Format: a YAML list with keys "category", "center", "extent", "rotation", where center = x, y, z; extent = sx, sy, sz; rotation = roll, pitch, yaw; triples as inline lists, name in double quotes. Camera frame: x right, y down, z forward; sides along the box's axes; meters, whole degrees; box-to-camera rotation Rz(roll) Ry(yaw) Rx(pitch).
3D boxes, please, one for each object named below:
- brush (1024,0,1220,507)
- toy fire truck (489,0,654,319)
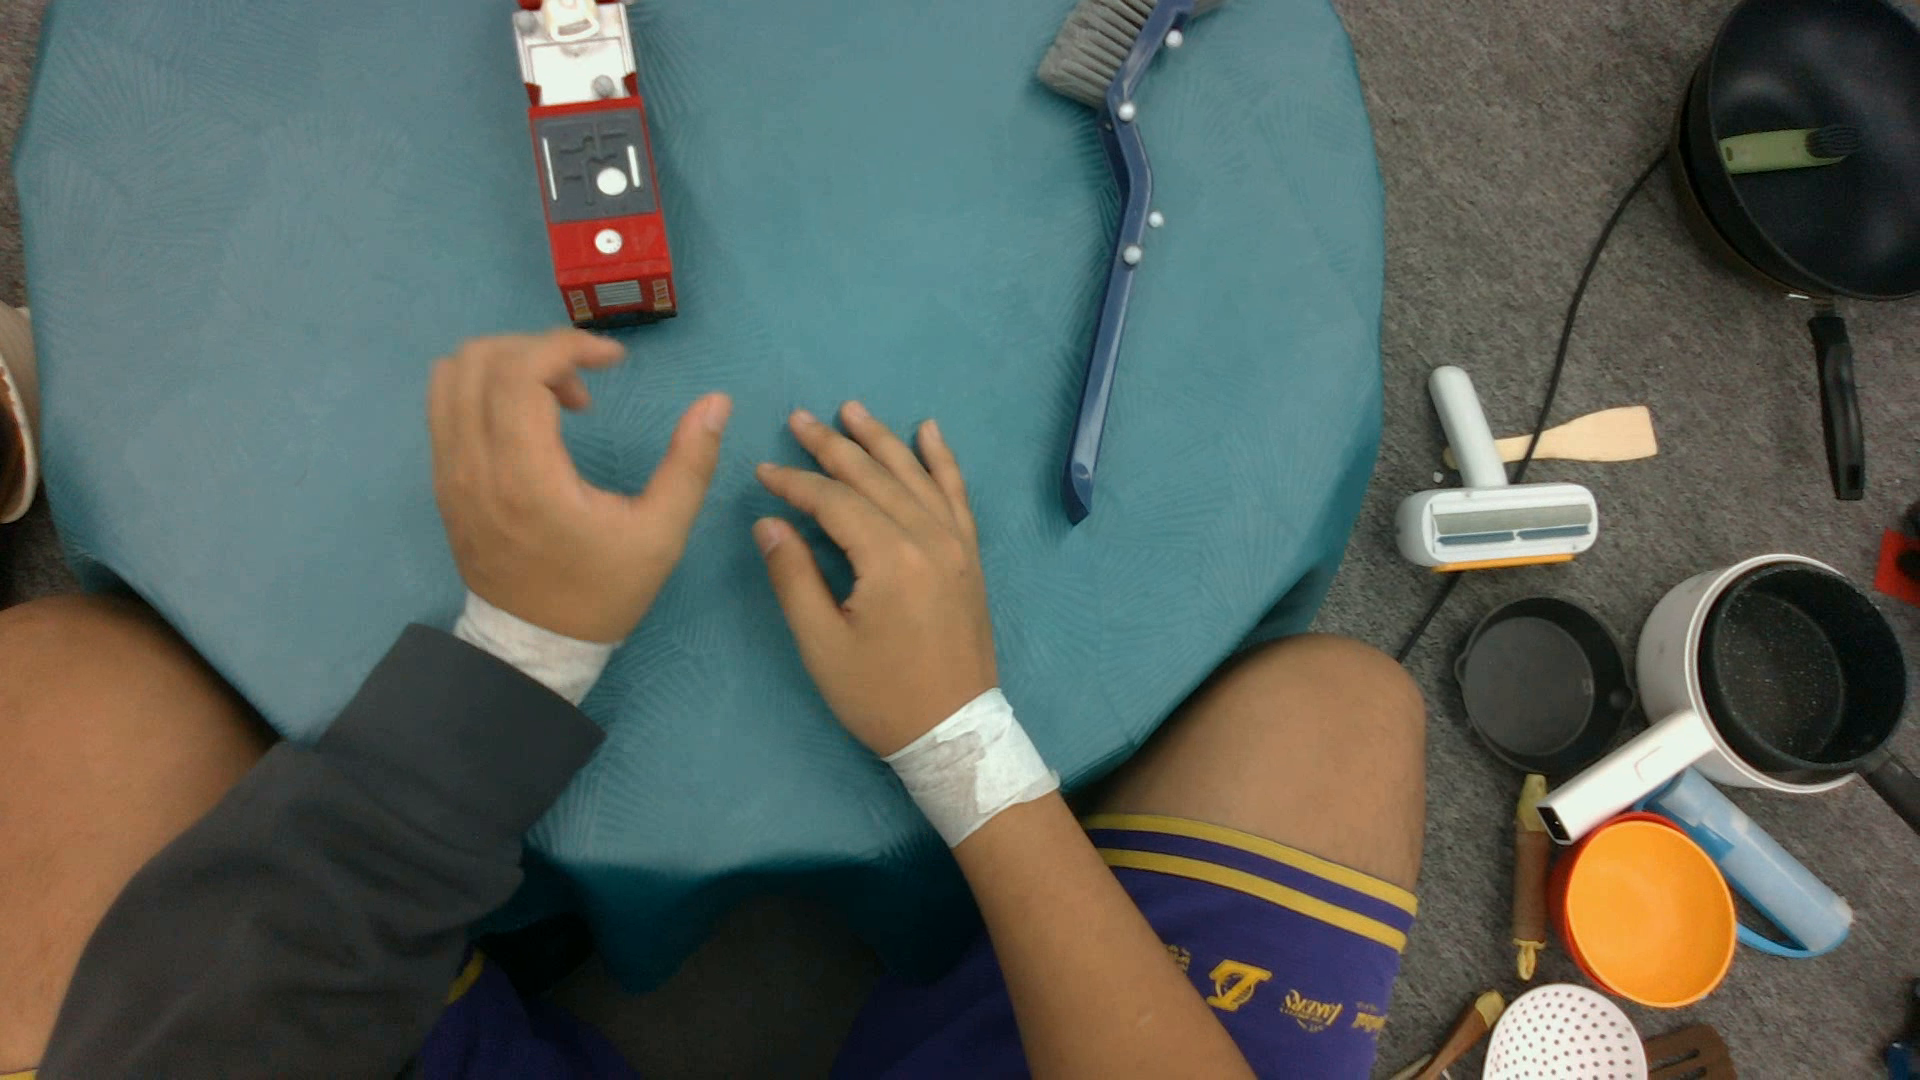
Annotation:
- category: "brush"
  center: [0.074, -0.146, 0.630]
  extent: [0.096, 0.033, 0.273]
  rotation: [5, 79, -10]
- category: "toy fire truck"
  center: [-0.165, -0.179, 0.578]
  extent: [0.054, 0.070, 0.168]
  rotation: [-11, 83, -12]
